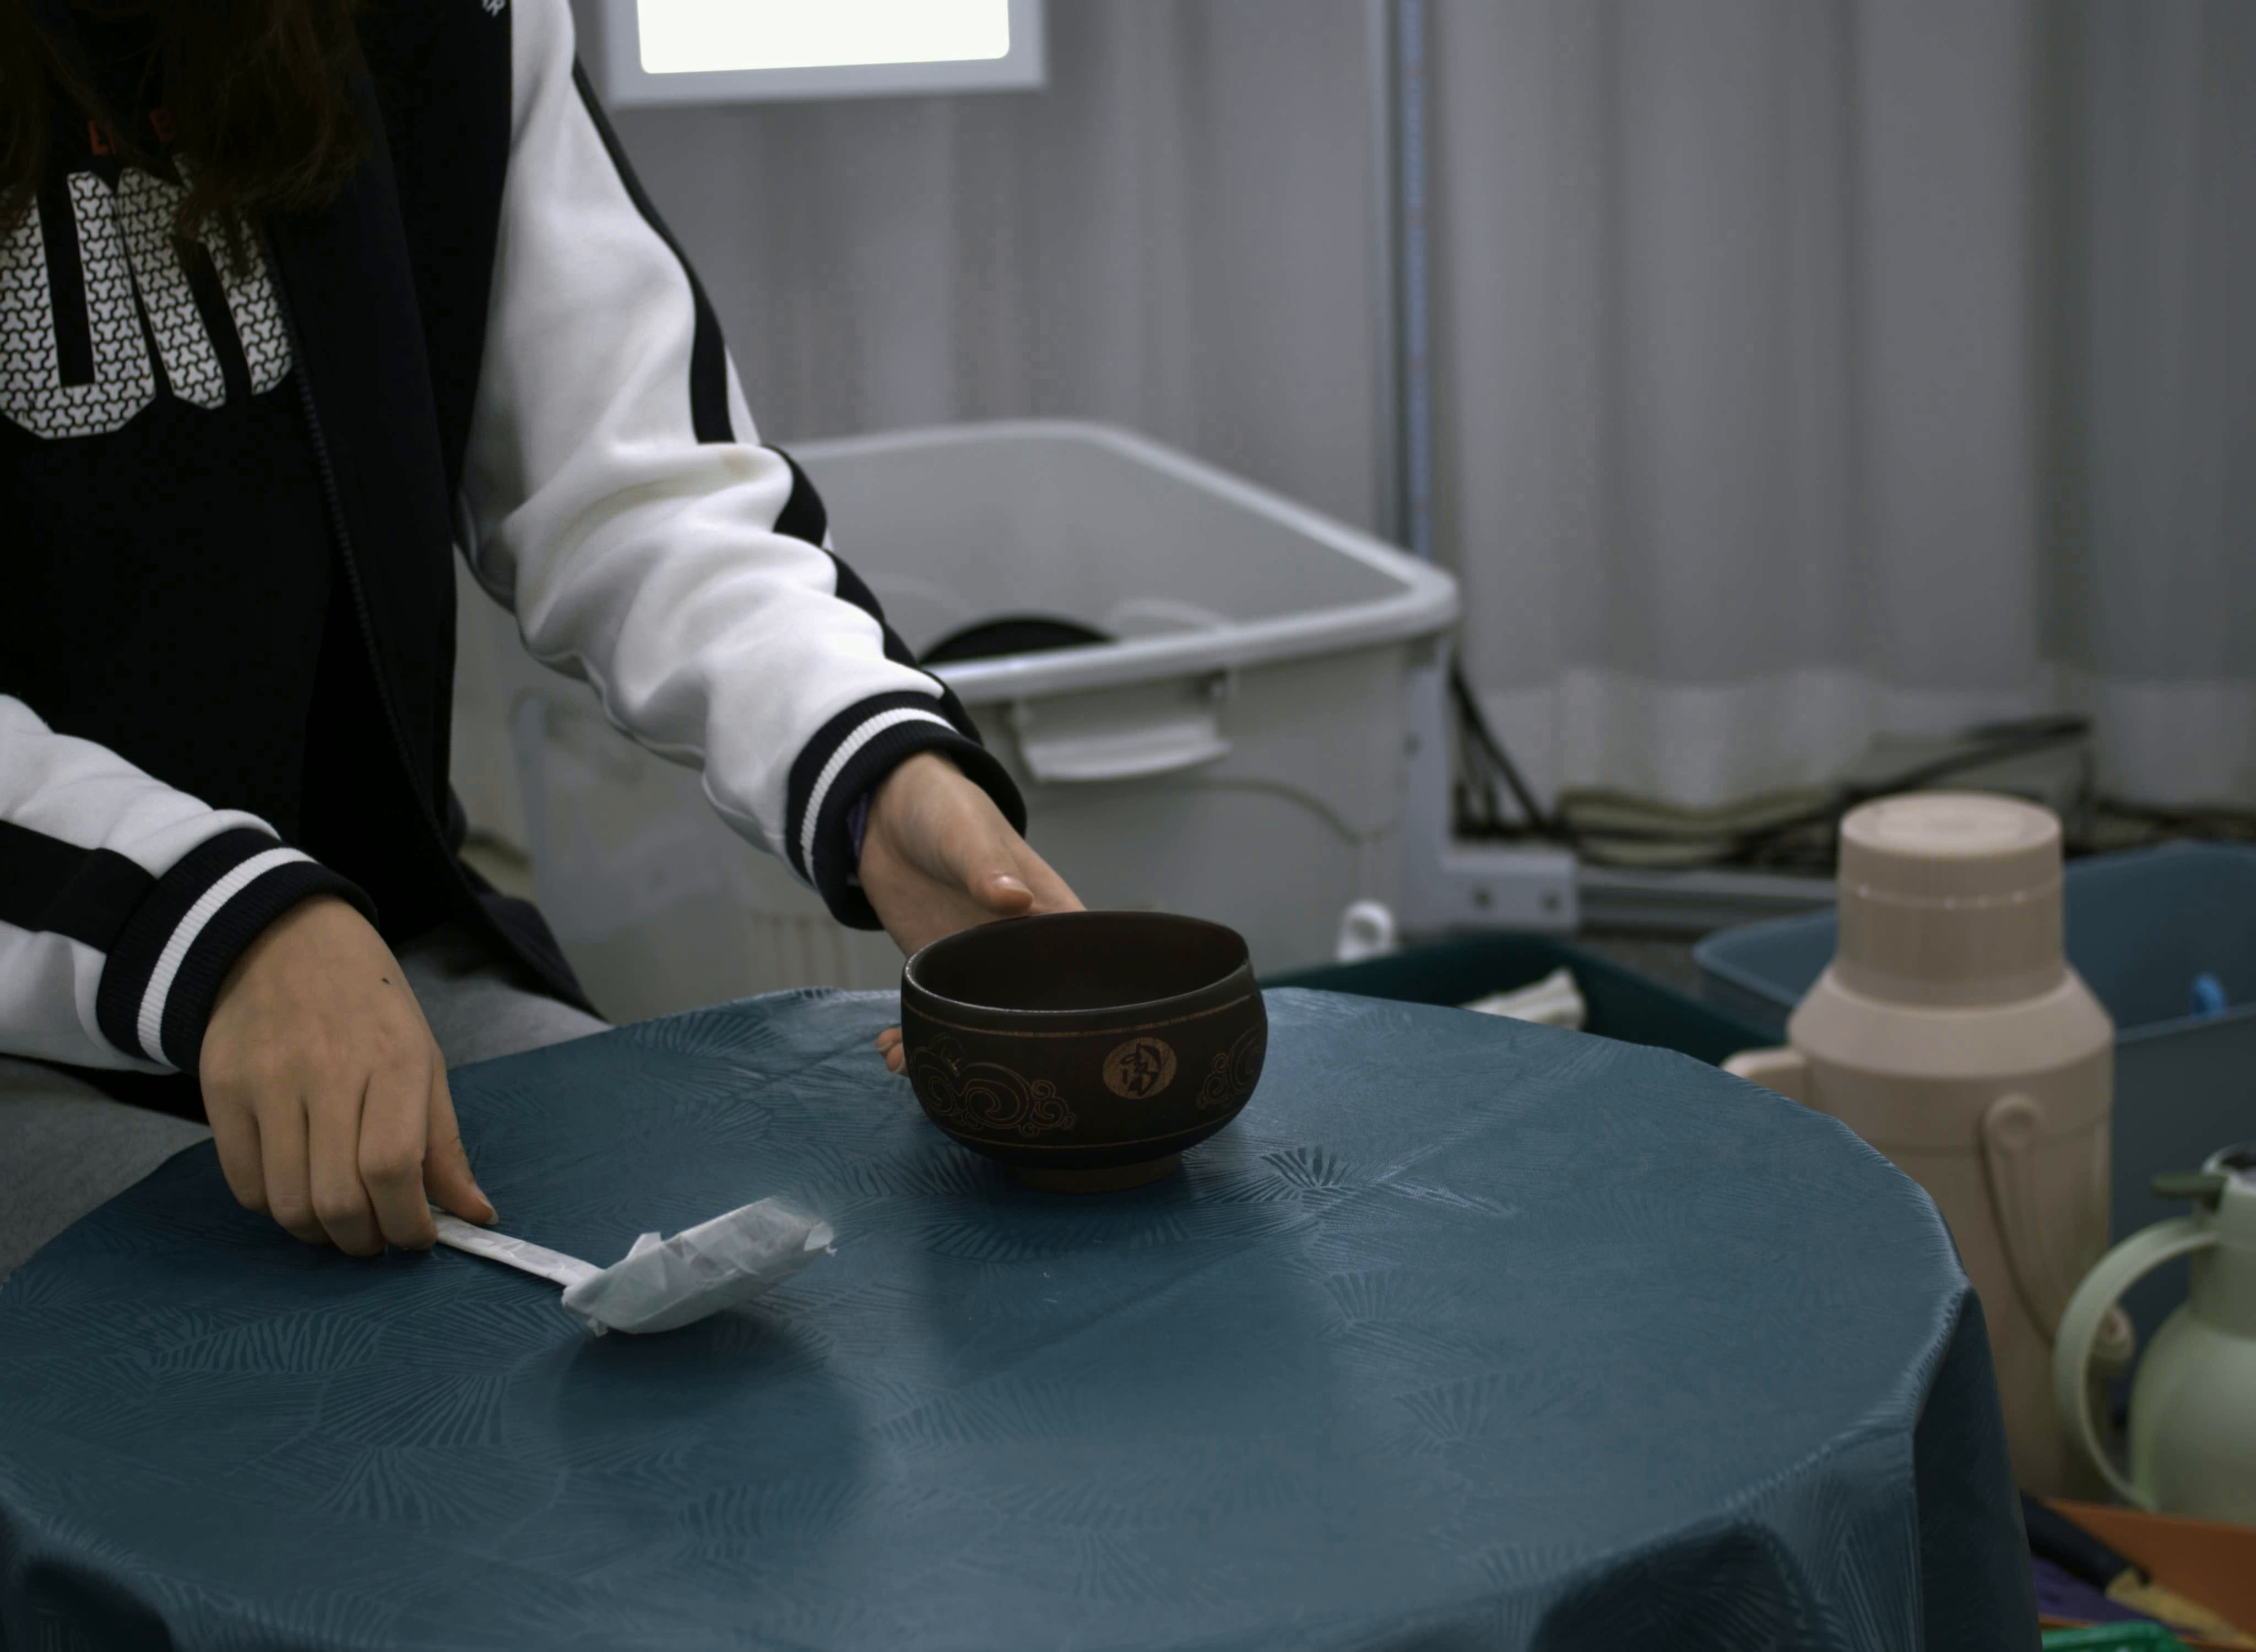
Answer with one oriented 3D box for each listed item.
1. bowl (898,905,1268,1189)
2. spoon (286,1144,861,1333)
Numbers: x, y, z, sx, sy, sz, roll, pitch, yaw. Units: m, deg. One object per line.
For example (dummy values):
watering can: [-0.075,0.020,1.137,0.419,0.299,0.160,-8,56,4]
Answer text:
bowl: [-0.013,0.073,1.731,0.117,0.069,0.119,-3,14,0]
spoon: [-0.181,0.106,1.673,0.100,0.059,0.279,-11,17,-37]
